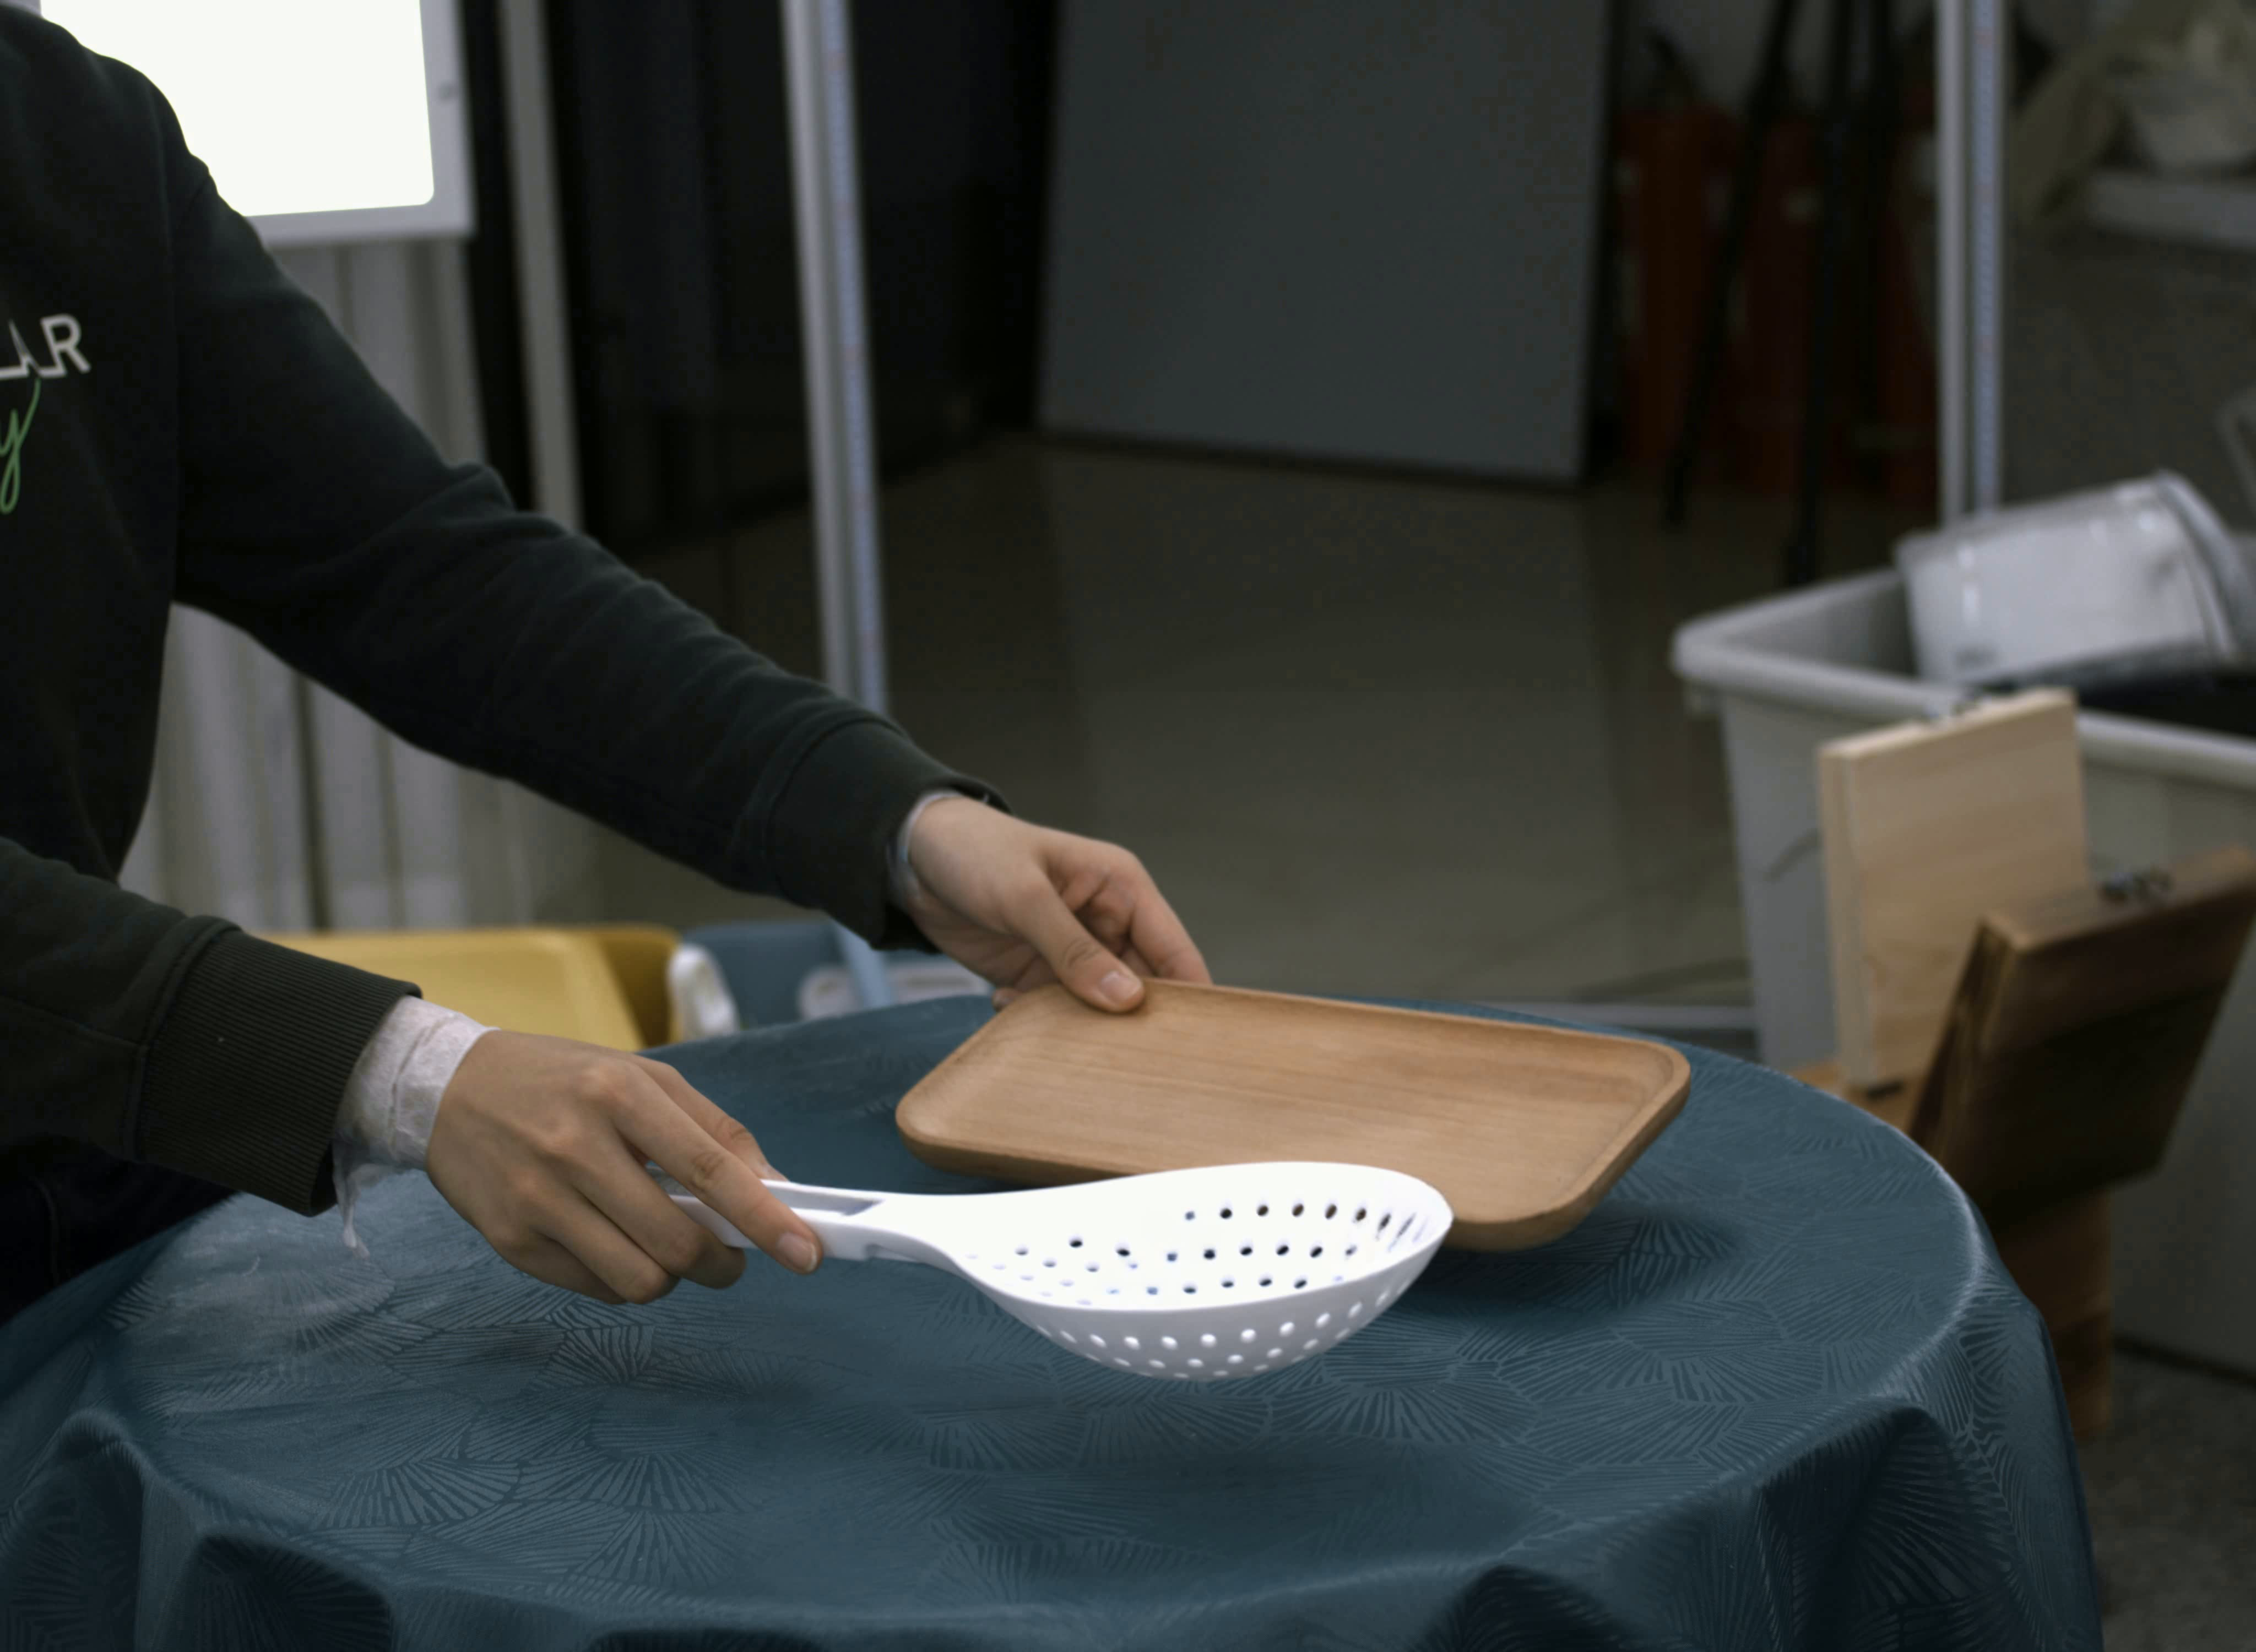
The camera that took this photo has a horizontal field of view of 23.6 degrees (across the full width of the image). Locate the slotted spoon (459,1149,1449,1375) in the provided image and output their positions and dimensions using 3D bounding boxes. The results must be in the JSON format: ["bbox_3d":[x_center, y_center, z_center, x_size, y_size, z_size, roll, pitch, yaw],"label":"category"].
[{"bbox_3d":[-0.062,0.116,1.575,0.352,0.046,0.133,8,17,36],"label":"slotted spoon"}]

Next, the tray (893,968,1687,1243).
[{"bbox_3d":[0.051,0.088,1.730,0.252,0.023,0.129,4,25,32],"label":"tray"}]
